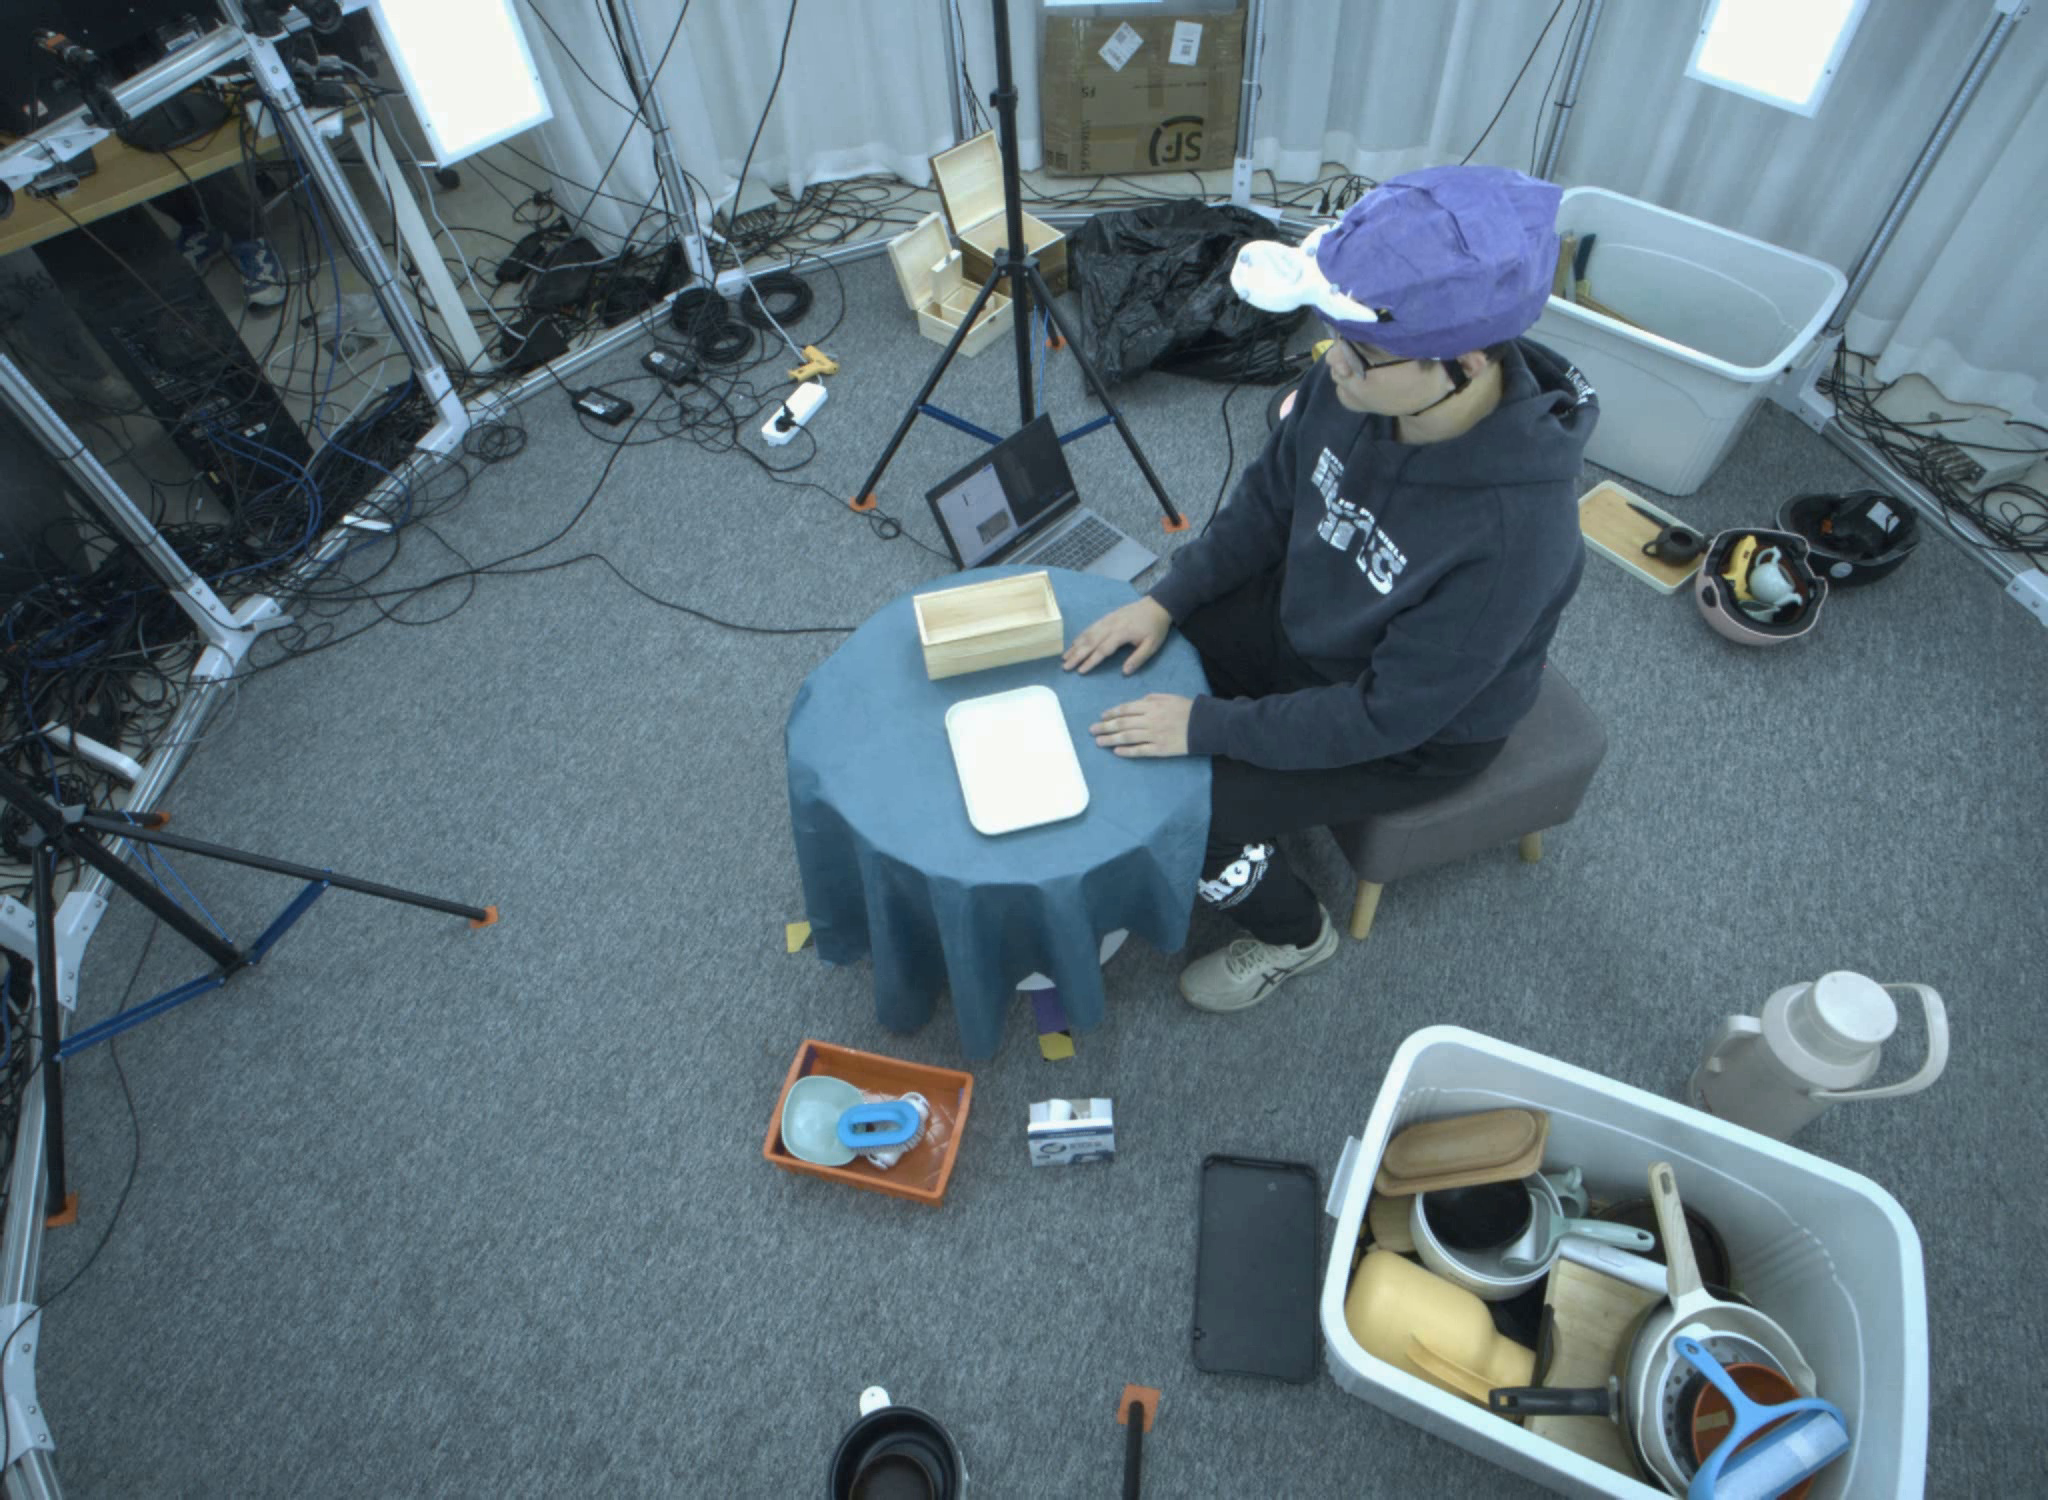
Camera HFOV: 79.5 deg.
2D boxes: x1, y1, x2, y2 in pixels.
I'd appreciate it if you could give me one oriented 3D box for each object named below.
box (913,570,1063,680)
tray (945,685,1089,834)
[{"bbox_3d":[-0.055,-0.191,1.875,0.212,0.081,0.106,-12,56,-7],"label":"box"},{"bbox_3d":[-0.012,0.013,1.769,0.172,0.017,0.236,-12,55,-8],"label":"tray"}]
